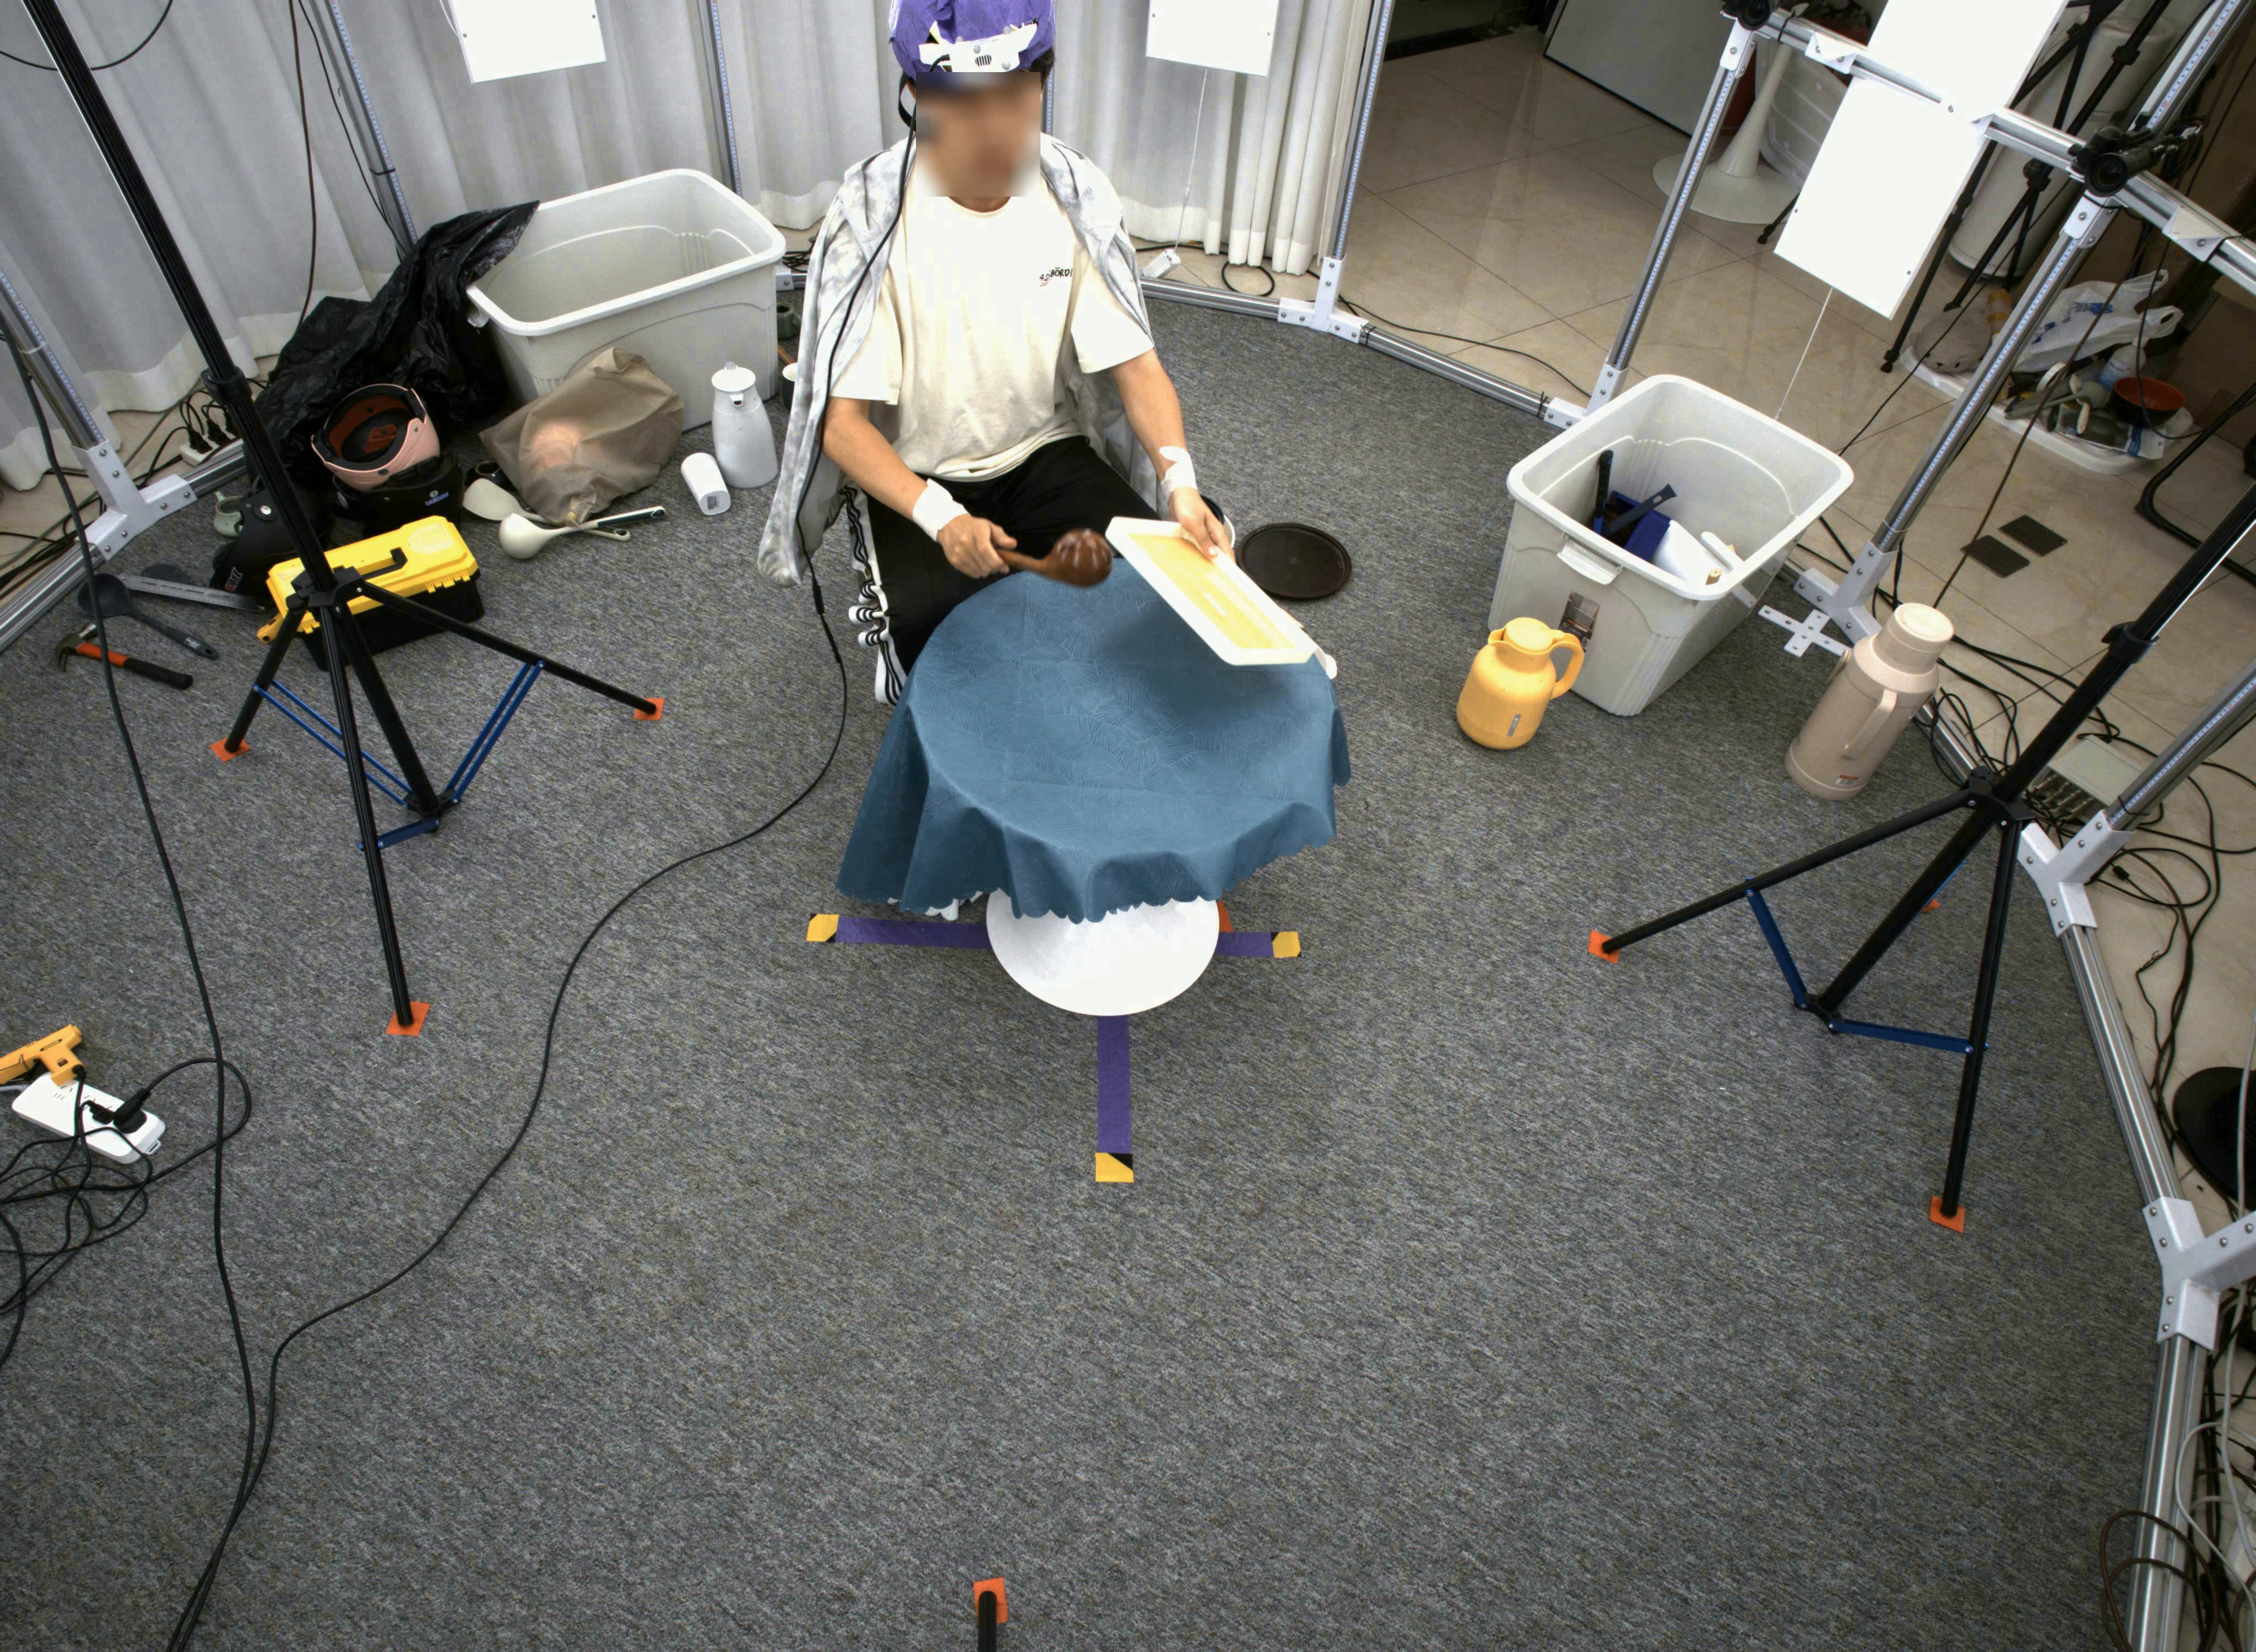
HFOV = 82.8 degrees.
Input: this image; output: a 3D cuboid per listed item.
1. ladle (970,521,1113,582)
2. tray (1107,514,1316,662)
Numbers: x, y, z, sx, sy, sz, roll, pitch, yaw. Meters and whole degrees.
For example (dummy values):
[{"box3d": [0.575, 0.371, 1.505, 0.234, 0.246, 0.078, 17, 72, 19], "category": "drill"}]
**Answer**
[{"box3d": [-0.121, -0.380, 1.761, 0.077, 0.080, 0.277, -35, 31, -22], "category": "ladle"}, {"box3d": [0.116, -0.334, 1.810, 0.191, 0.027, 0.306, -6, 47, -46], "category": "tray"}]
